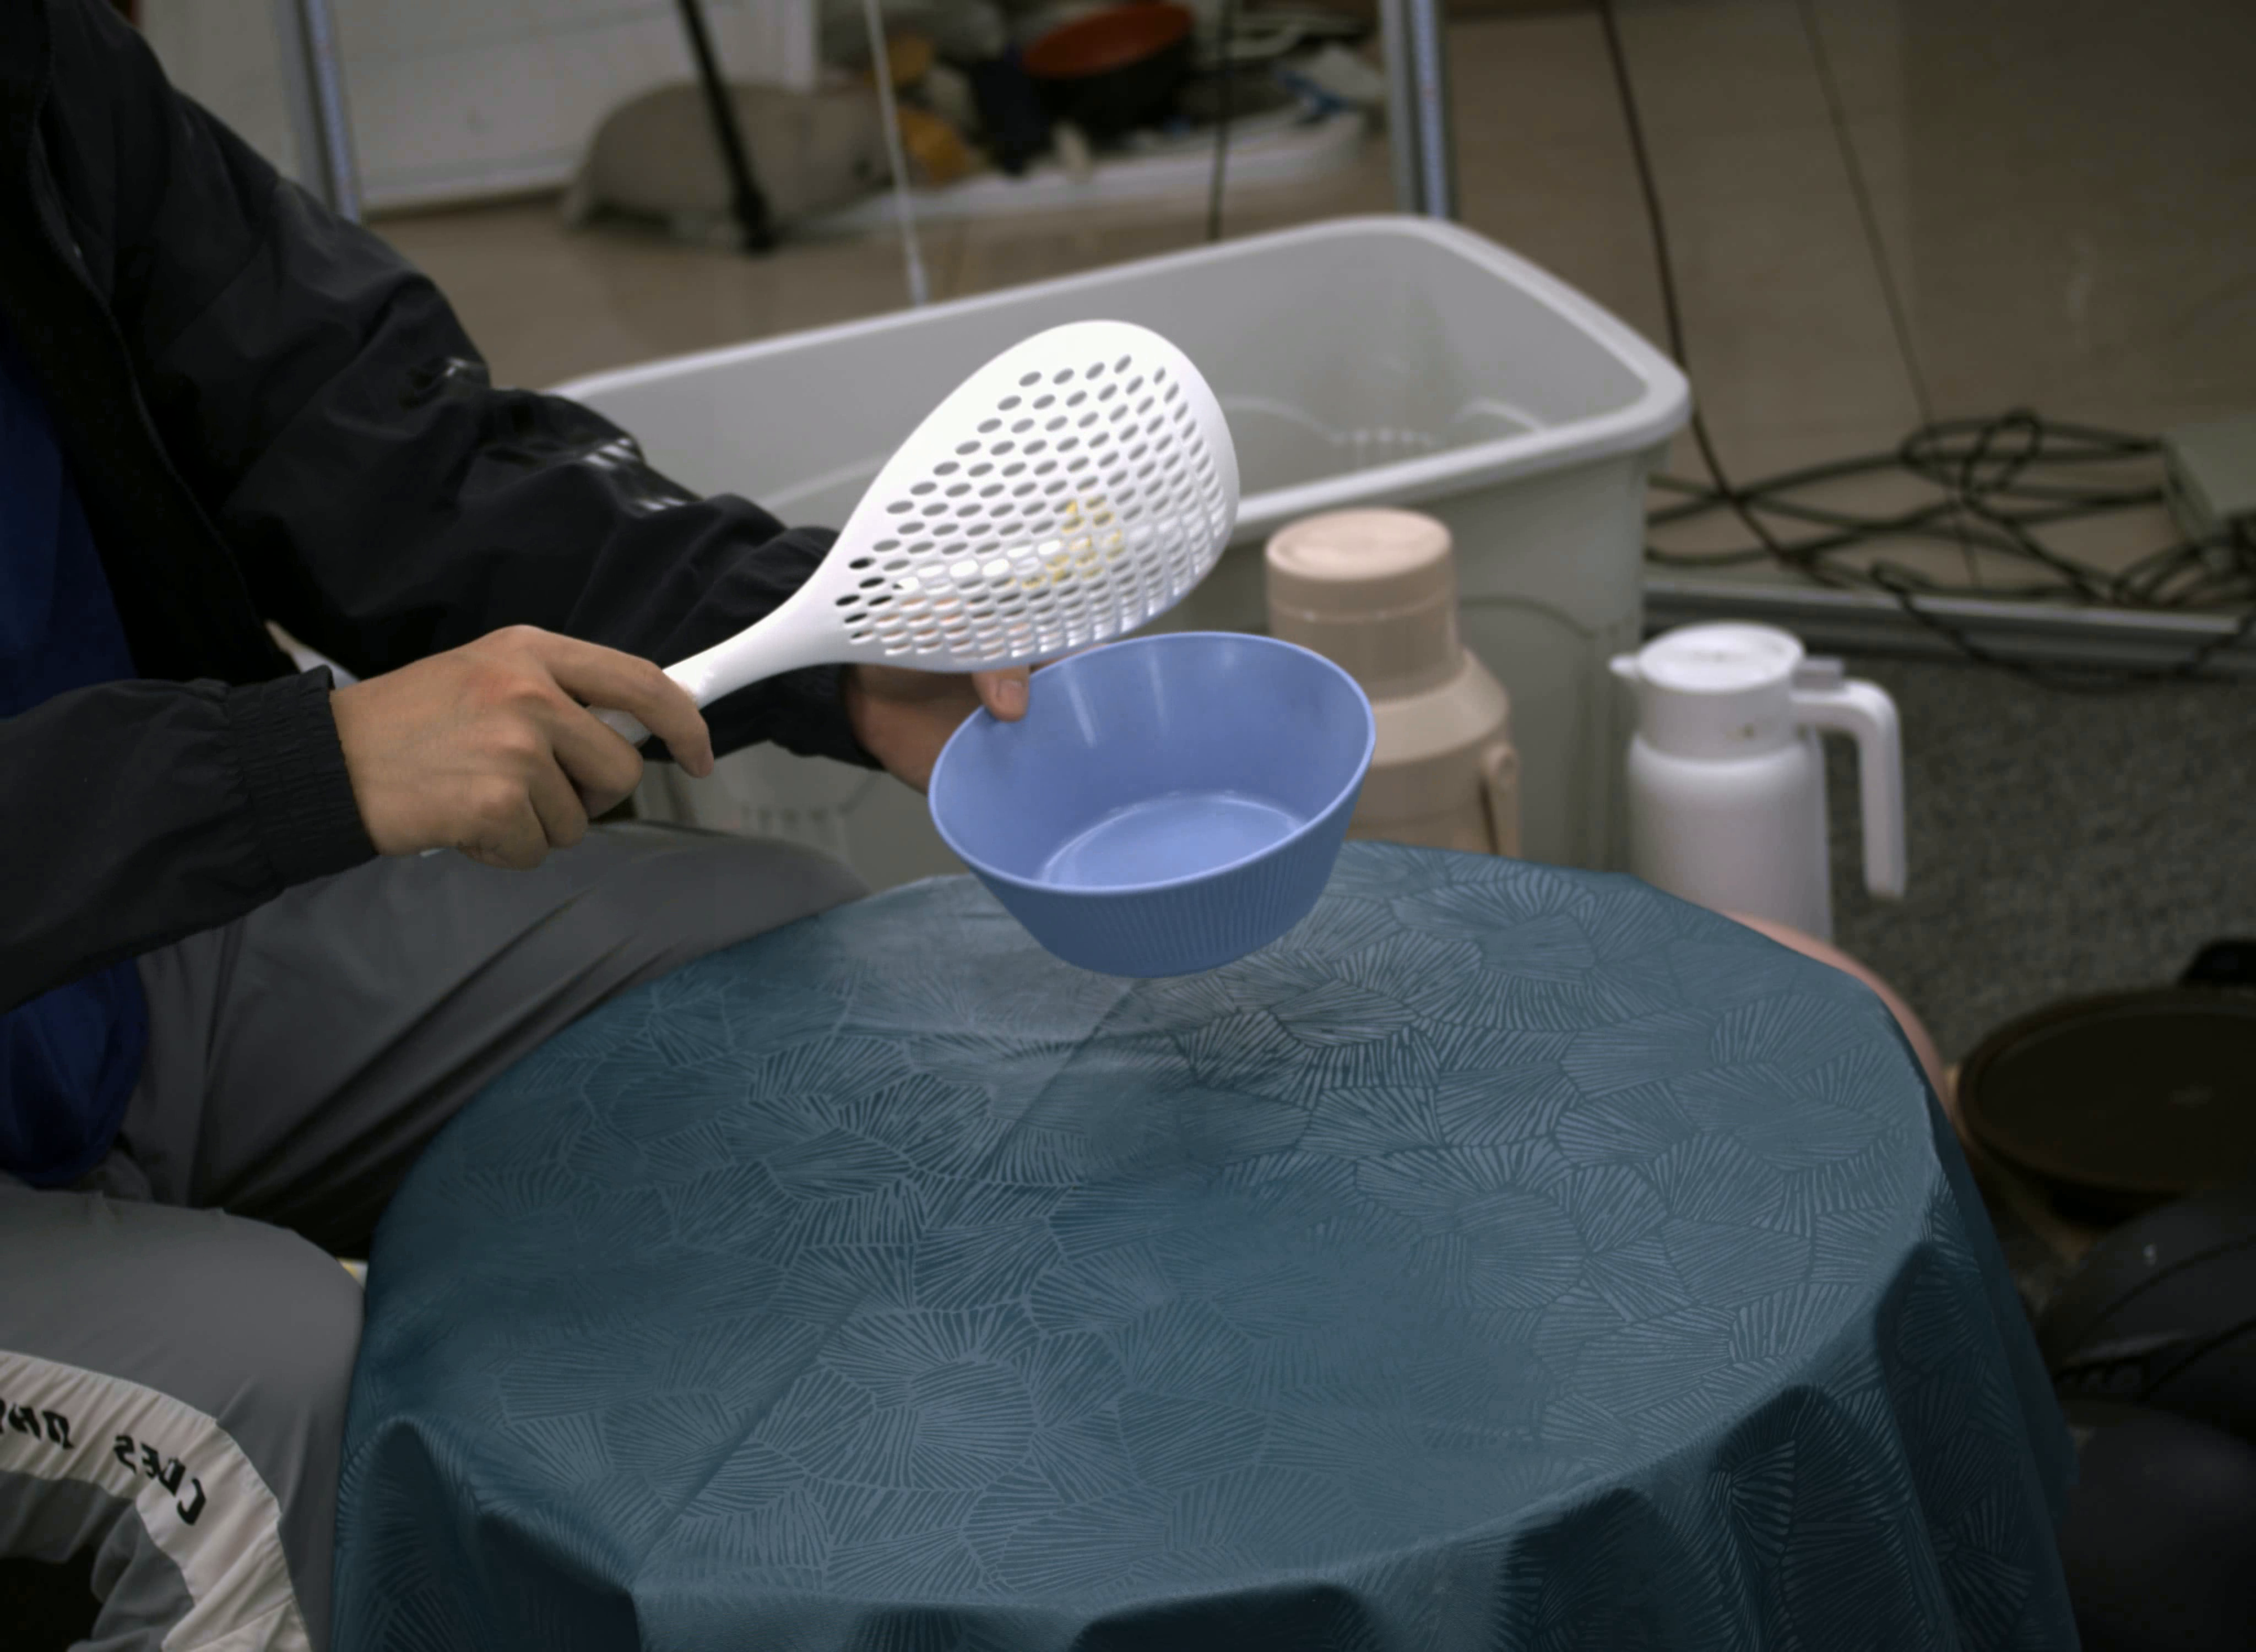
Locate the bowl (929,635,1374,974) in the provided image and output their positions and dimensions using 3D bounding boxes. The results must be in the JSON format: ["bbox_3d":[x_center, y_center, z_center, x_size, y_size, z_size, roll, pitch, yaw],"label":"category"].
[{"bbox_3d":[0.014,-0.001,2.205,0.176,0.071,0.173,-9,34,6],"label":"bowl"}]

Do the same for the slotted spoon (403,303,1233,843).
[{"bbox_3d":[-0.115,-0.077,2.125,0.347,0.139,0.049,-25,37,-4],"label":"slotted spoon"}]
